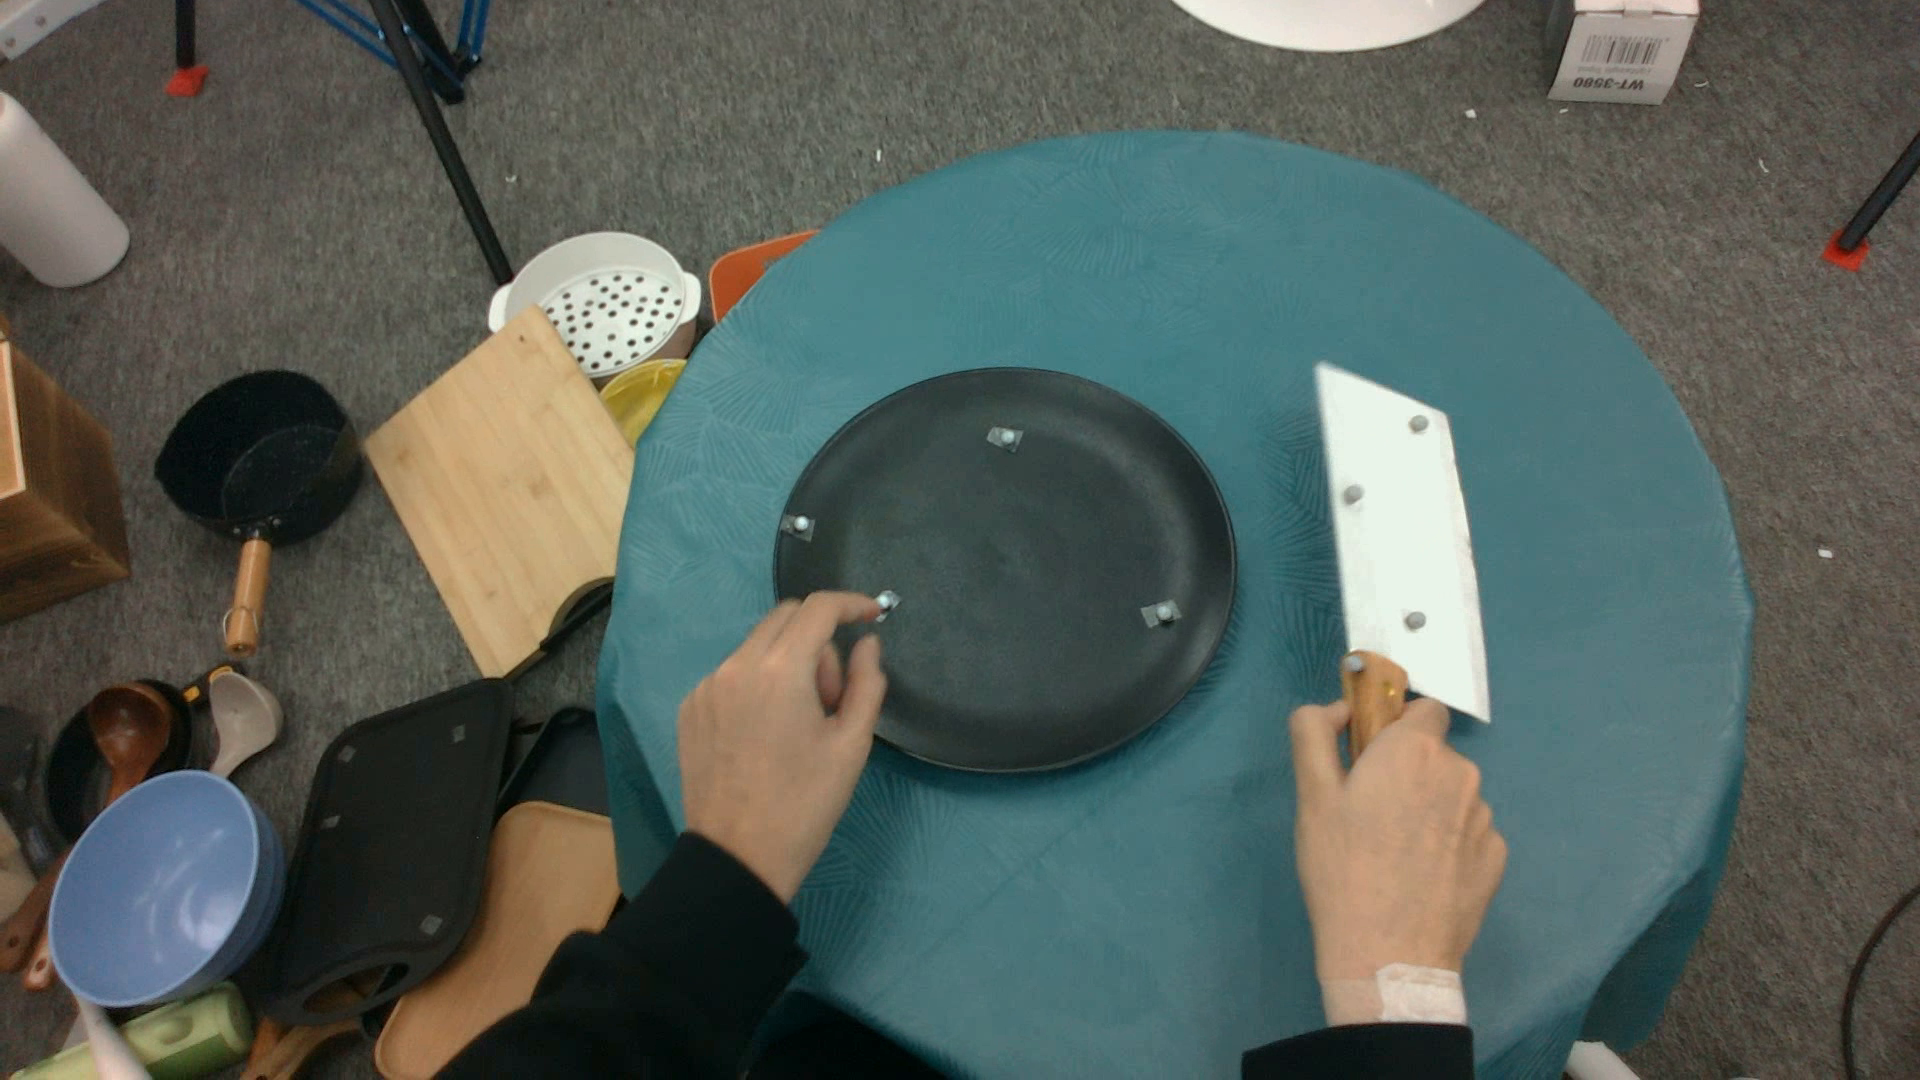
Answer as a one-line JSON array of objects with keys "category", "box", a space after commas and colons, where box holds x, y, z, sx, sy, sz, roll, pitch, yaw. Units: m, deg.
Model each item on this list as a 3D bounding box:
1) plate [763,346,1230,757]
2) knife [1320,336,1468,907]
[{"category": "plate", "box": [0.019, 0.001, 0.725, 0.244, 0.023, 0.245, -1, 61, 2]}, {"category": "knife", "box": [0.213, 0.033, 0.670, 0.093, 0.021, 0.307, 24, 54, -27]}]
